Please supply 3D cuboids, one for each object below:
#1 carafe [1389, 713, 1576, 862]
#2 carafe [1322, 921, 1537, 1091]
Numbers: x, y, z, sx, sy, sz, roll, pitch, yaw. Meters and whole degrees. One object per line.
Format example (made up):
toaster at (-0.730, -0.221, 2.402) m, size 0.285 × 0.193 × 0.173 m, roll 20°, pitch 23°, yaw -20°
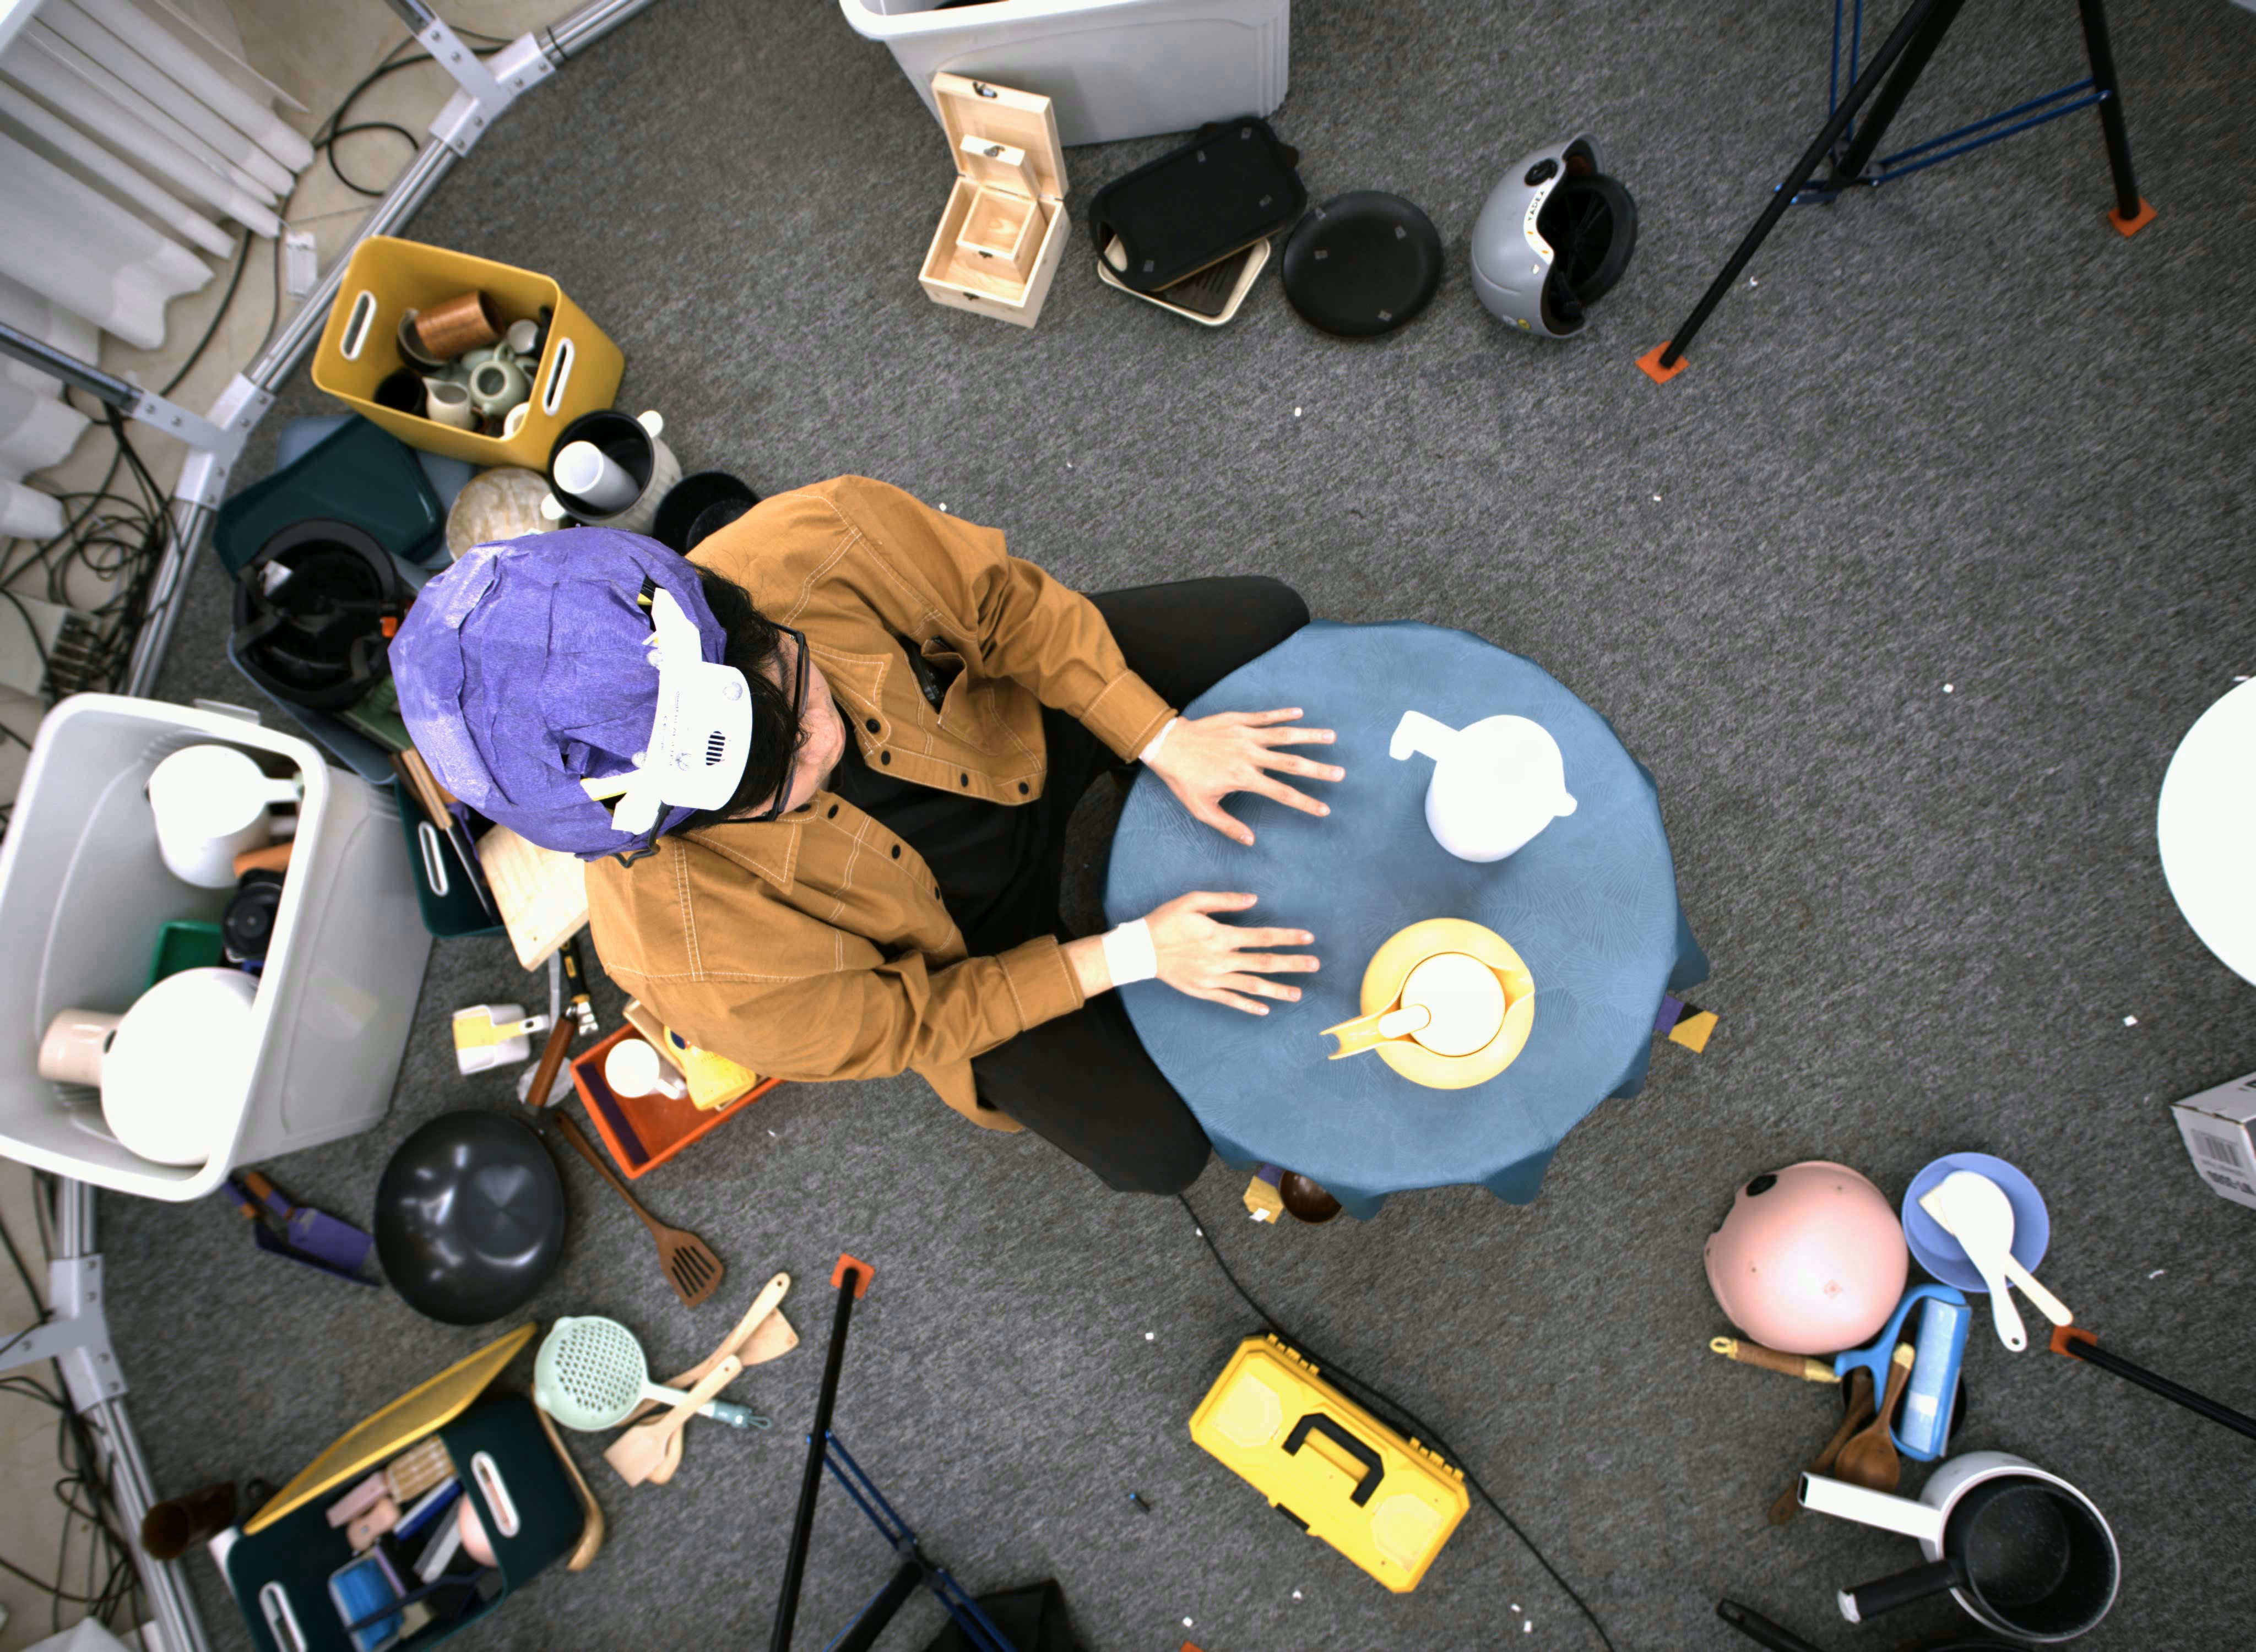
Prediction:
carafe at (0.333, -0.041, 1.319) m, size 0.172 × 0.268 × 0.124 m, roll 28°, pitch 92°, yaw 12°
carafe at (0.285, 0.174, 1.320) m, size 0.203 × 0.261 × 0.162 m, roll -18°, pitch 79°, yaw 7°
